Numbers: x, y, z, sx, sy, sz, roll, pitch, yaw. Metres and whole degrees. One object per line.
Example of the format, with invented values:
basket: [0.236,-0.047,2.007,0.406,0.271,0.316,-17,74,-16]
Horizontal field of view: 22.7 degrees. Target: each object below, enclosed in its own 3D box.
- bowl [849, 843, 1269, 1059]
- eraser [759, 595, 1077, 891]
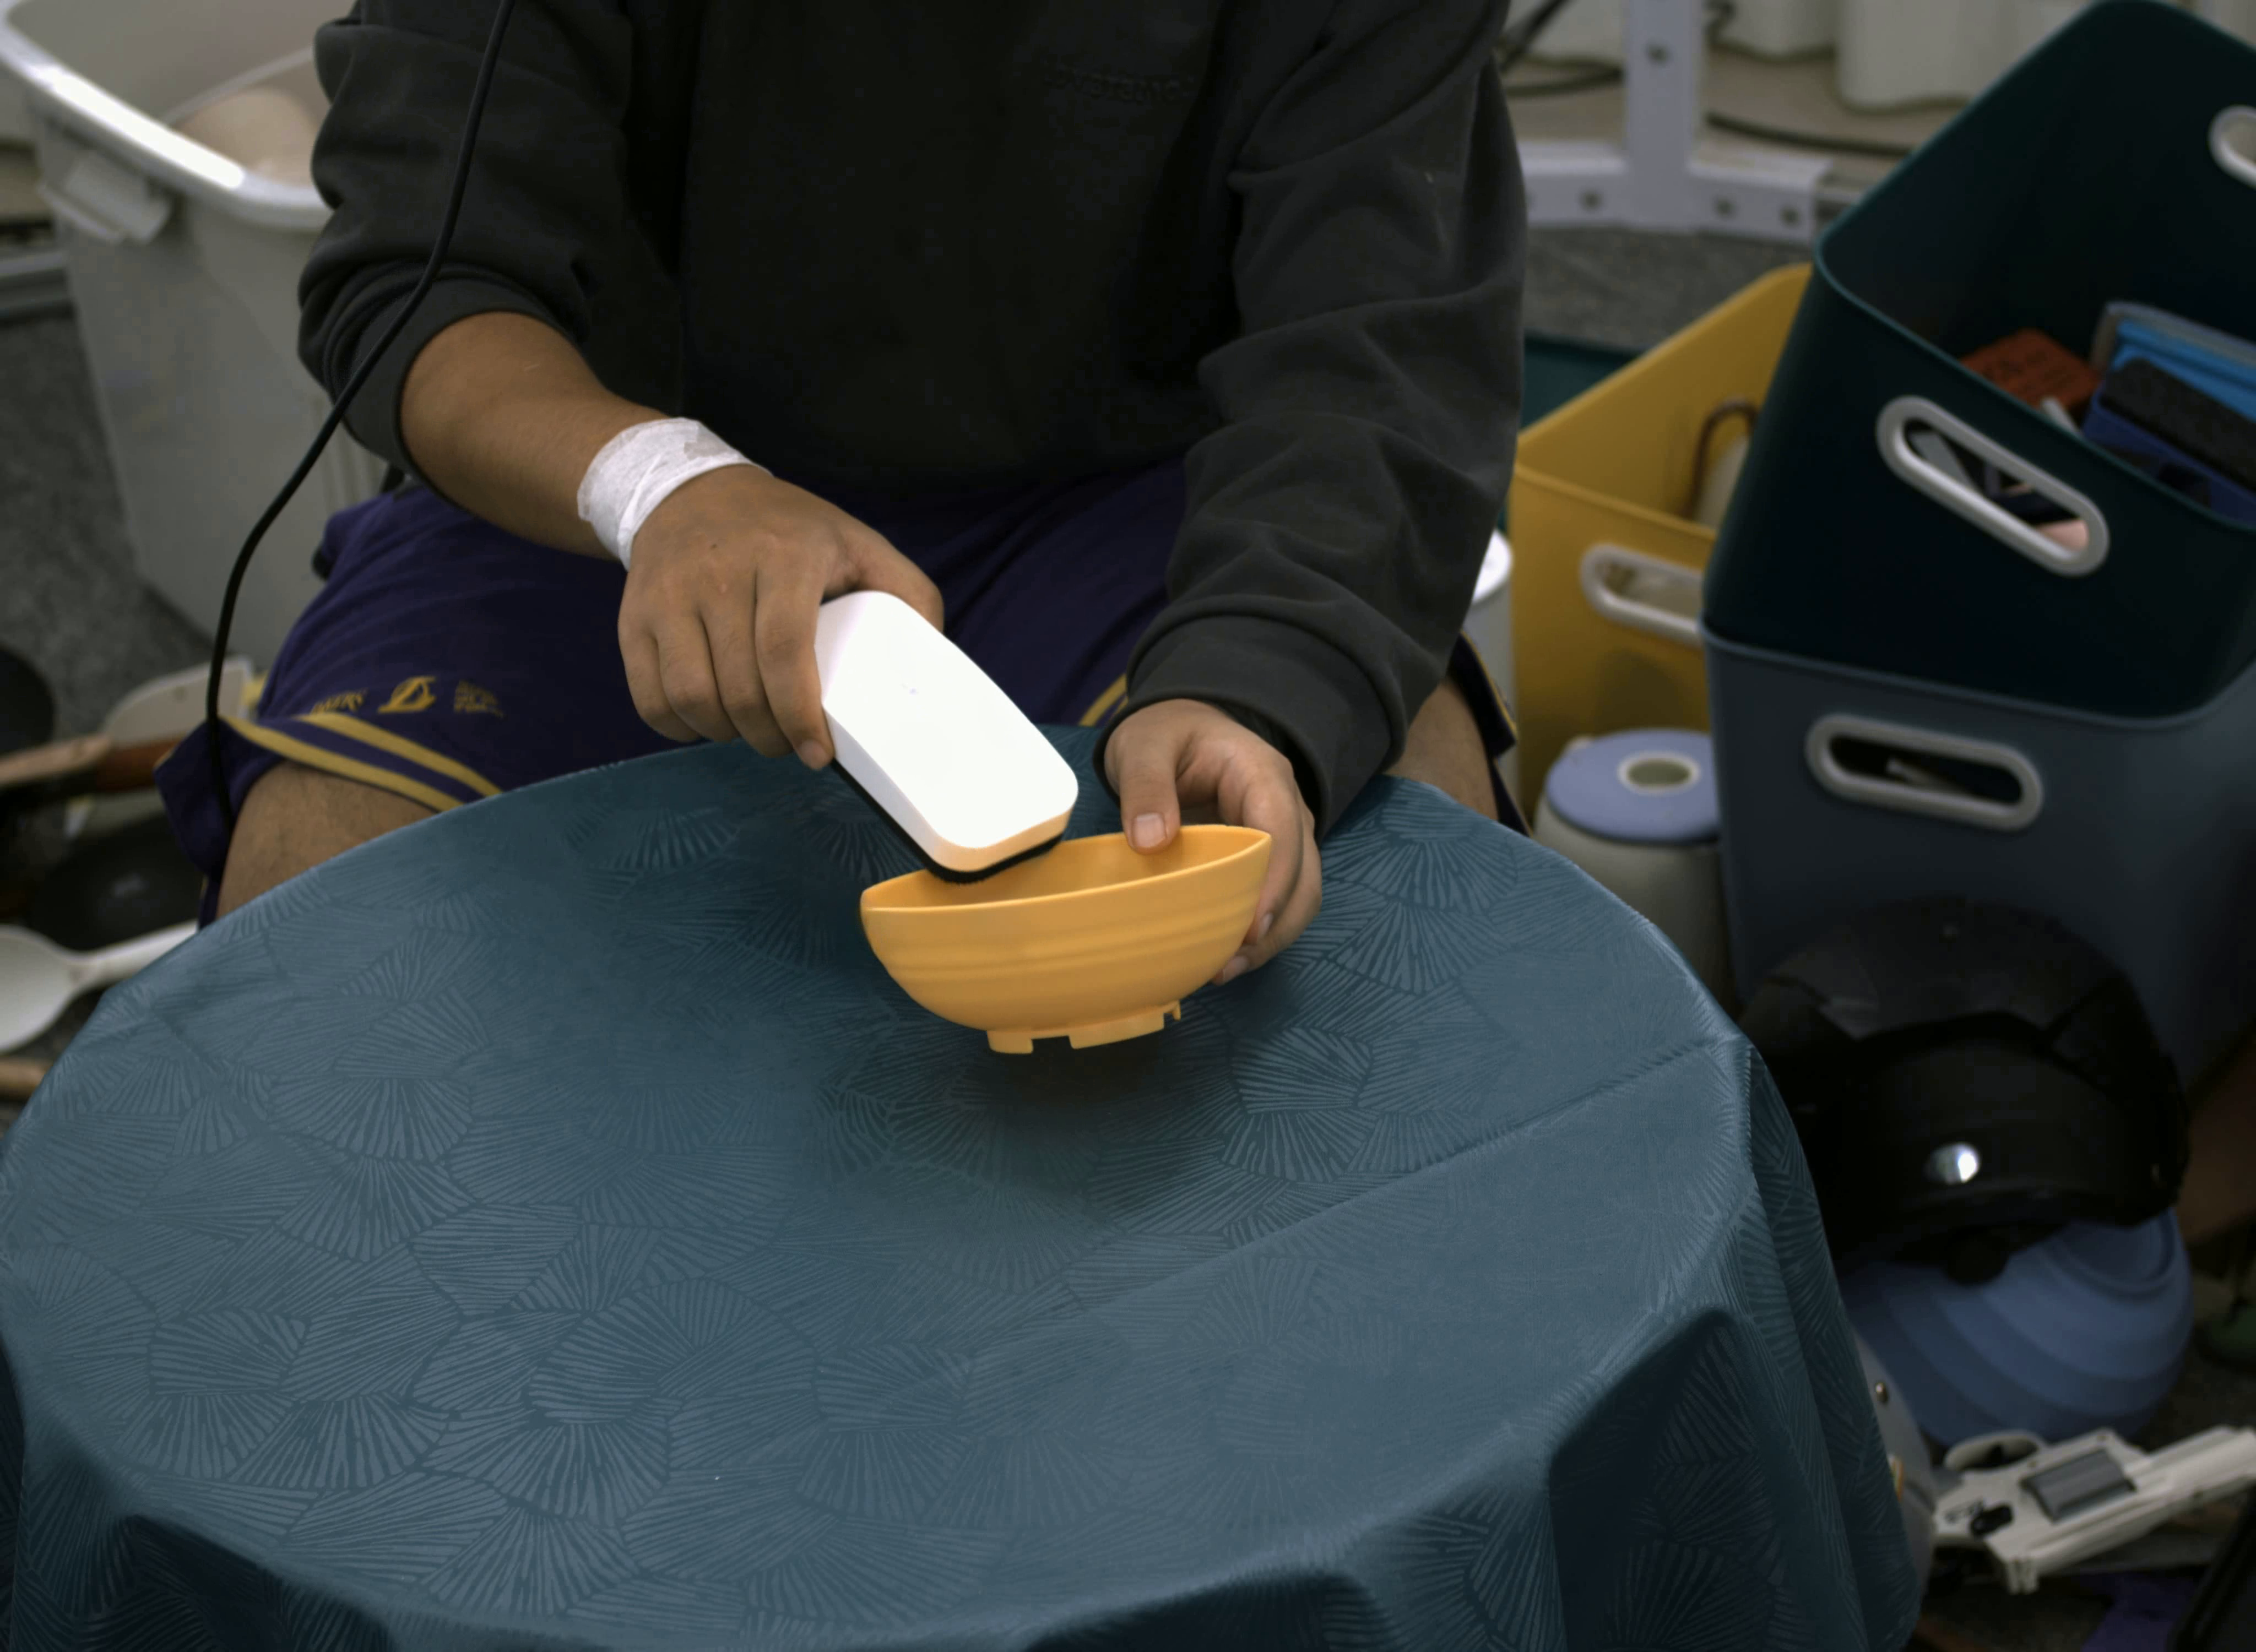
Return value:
bowl: [-0.020,0.045,1.916,0.144,0.060,0.145,-8,3,1]
eraser: [-0.075,-0.032,1.993,0.064,0.034,0.132,-22,52,-31]
